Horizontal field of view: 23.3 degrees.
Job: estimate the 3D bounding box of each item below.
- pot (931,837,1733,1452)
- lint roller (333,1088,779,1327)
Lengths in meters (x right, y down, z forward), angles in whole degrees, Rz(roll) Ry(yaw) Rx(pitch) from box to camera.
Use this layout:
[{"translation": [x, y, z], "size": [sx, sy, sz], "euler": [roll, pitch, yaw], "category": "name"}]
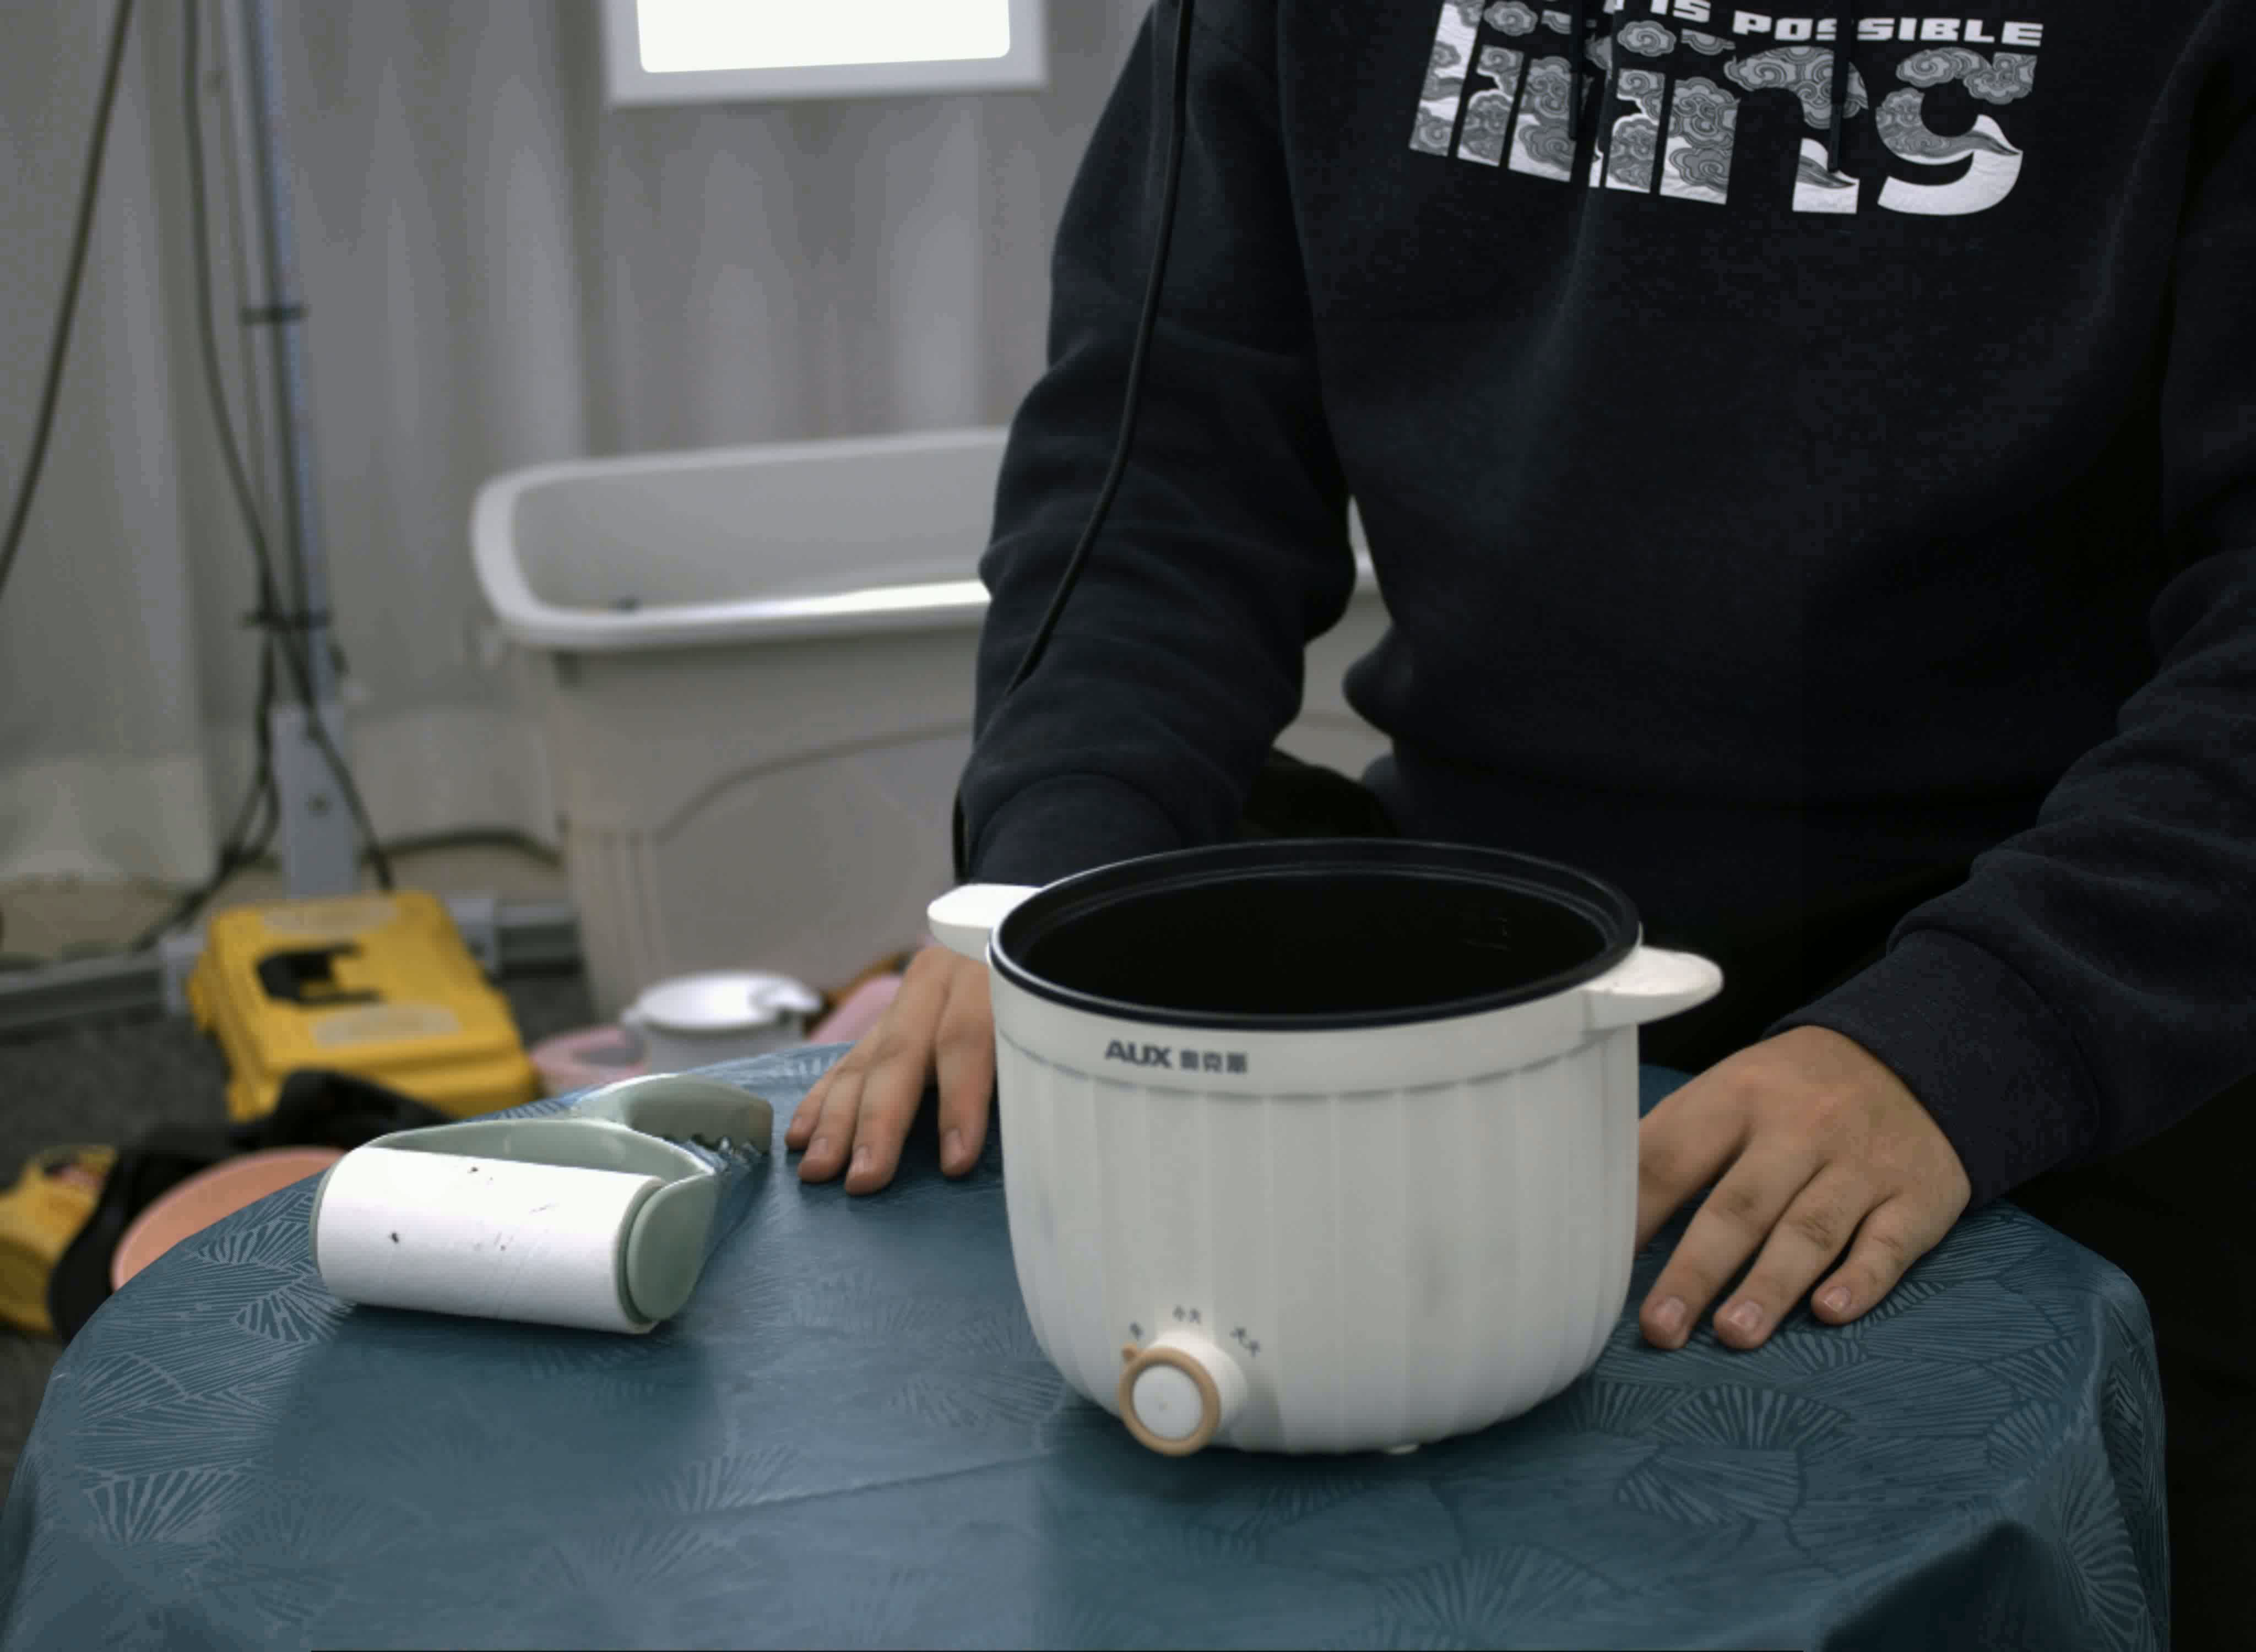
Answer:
[{"translation": [0.054, 0.092, 1.526], "size": [0.241, 0.142, 0.190], "euler": [3, 12, 27], "category": "pot"}, {"translation": [-0.152, 0.108, 1.688], "size": [0.116, 0.048, 0.198], "euler": [1, 13, 22], "category": "lint roller"}]
